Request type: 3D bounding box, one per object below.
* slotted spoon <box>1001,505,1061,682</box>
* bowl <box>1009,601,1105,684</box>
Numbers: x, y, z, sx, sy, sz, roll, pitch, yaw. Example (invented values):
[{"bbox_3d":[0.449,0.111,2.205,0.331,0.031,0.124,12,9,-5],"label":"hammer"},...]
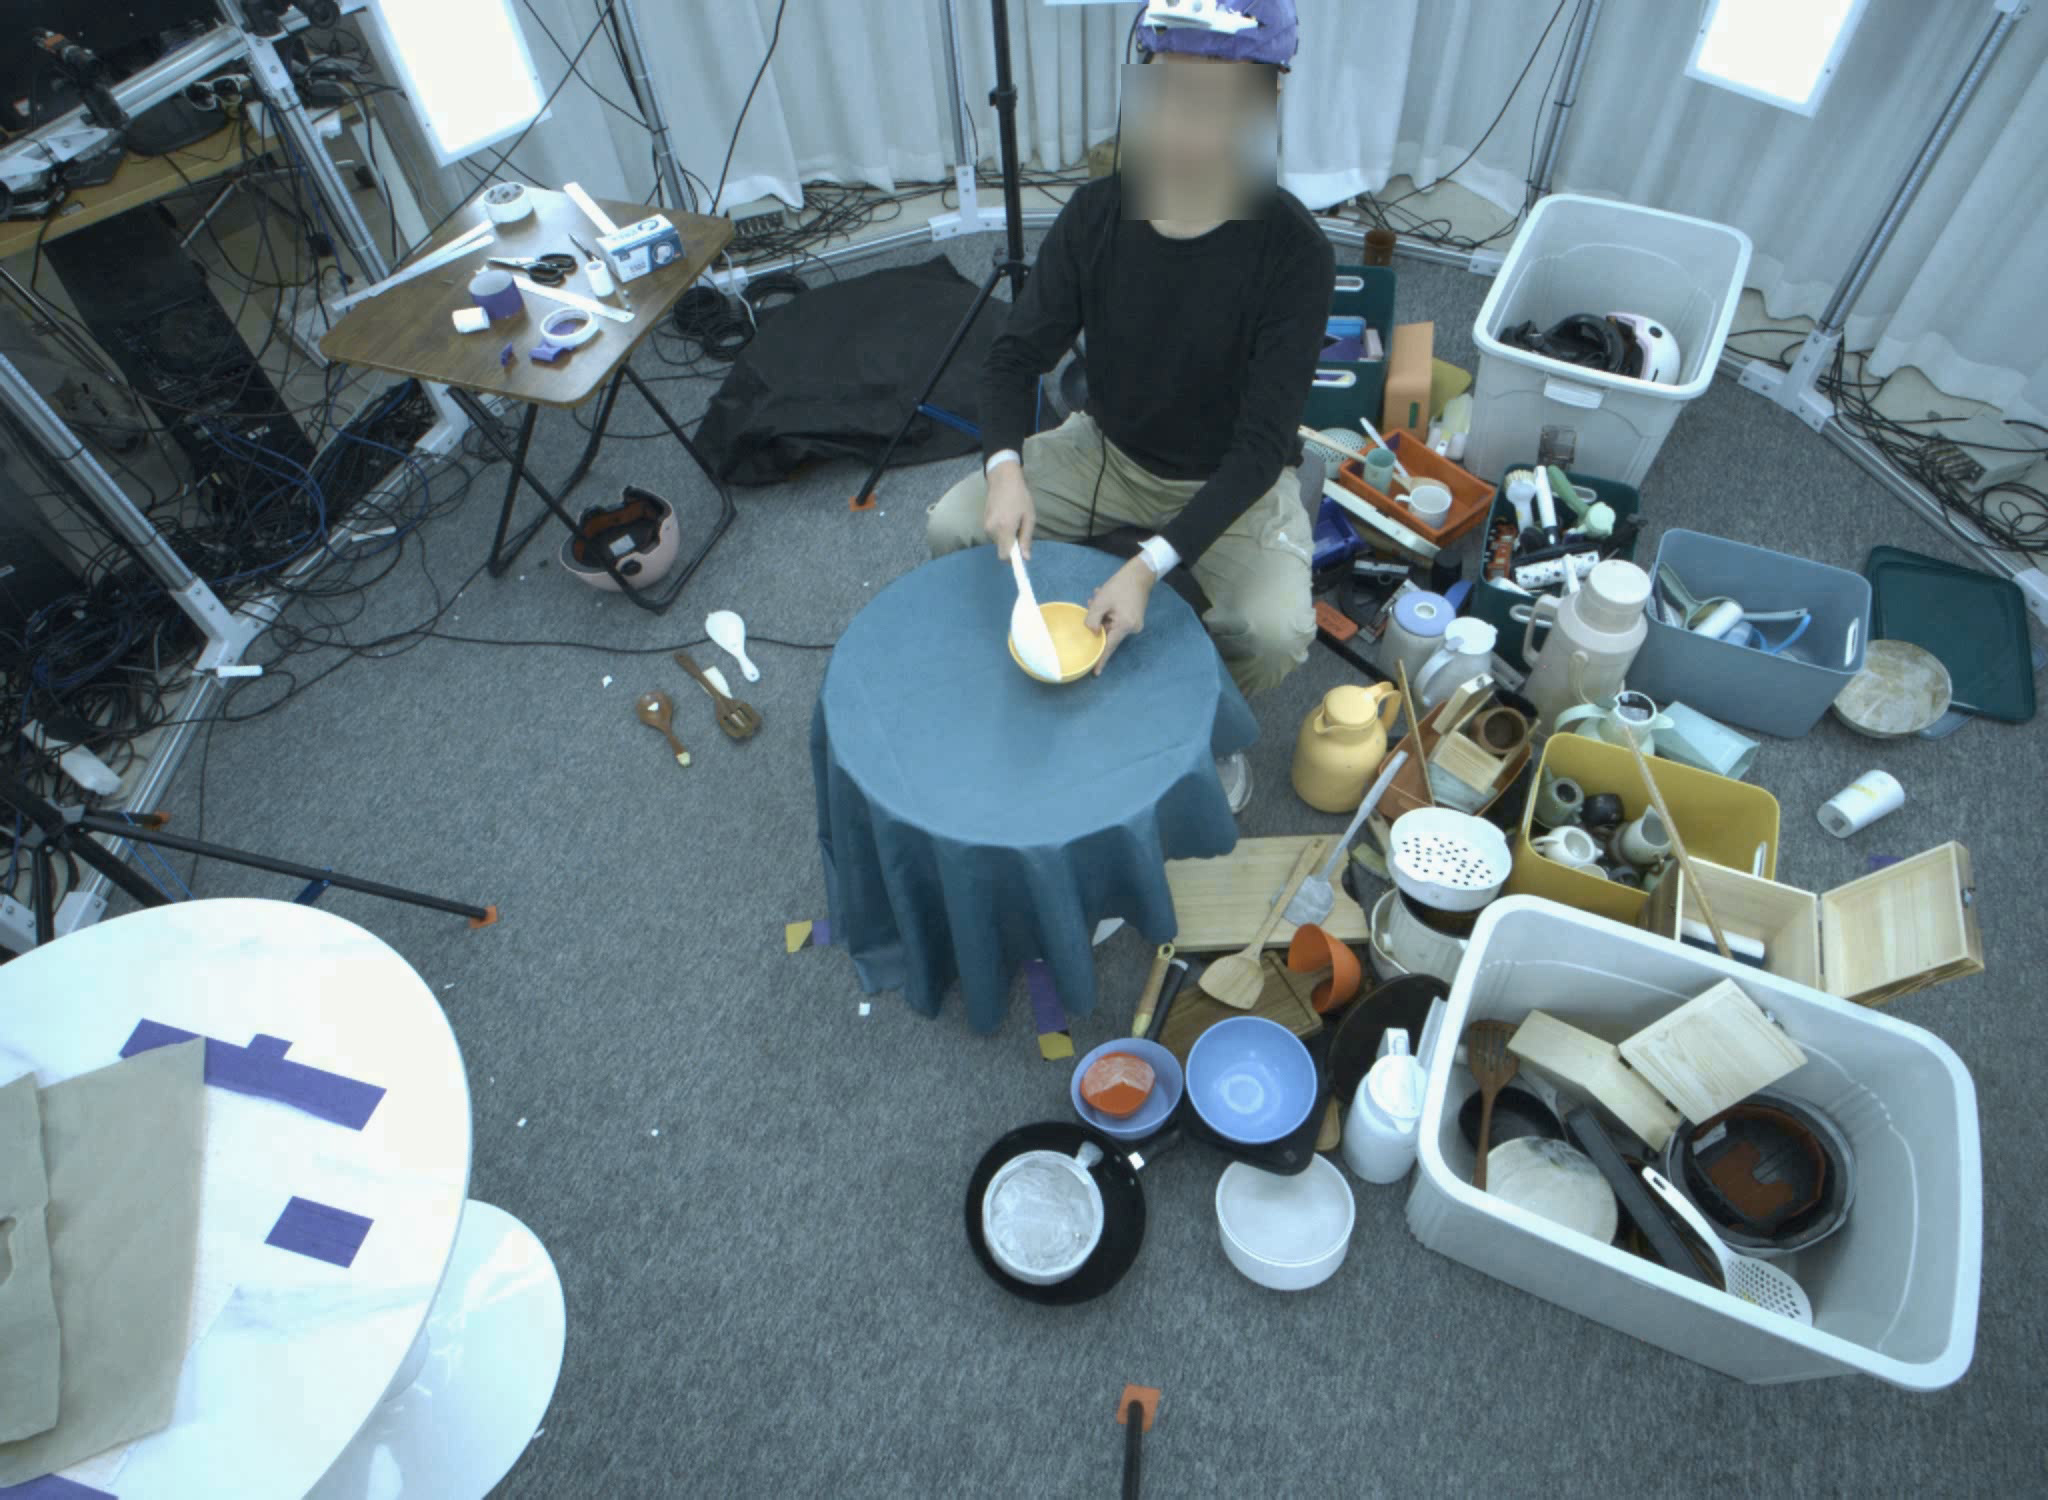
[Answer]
[{"bbox_3d":[0.001,-0.242,1.818,0.045,0.139,0.345,-17,53,14],"label":"slotted spoon"},{"bbox_3d":[0.050,-0.151,1.859,0.145,0.060,0.144,1,58,0],"label":"bowl"}]
